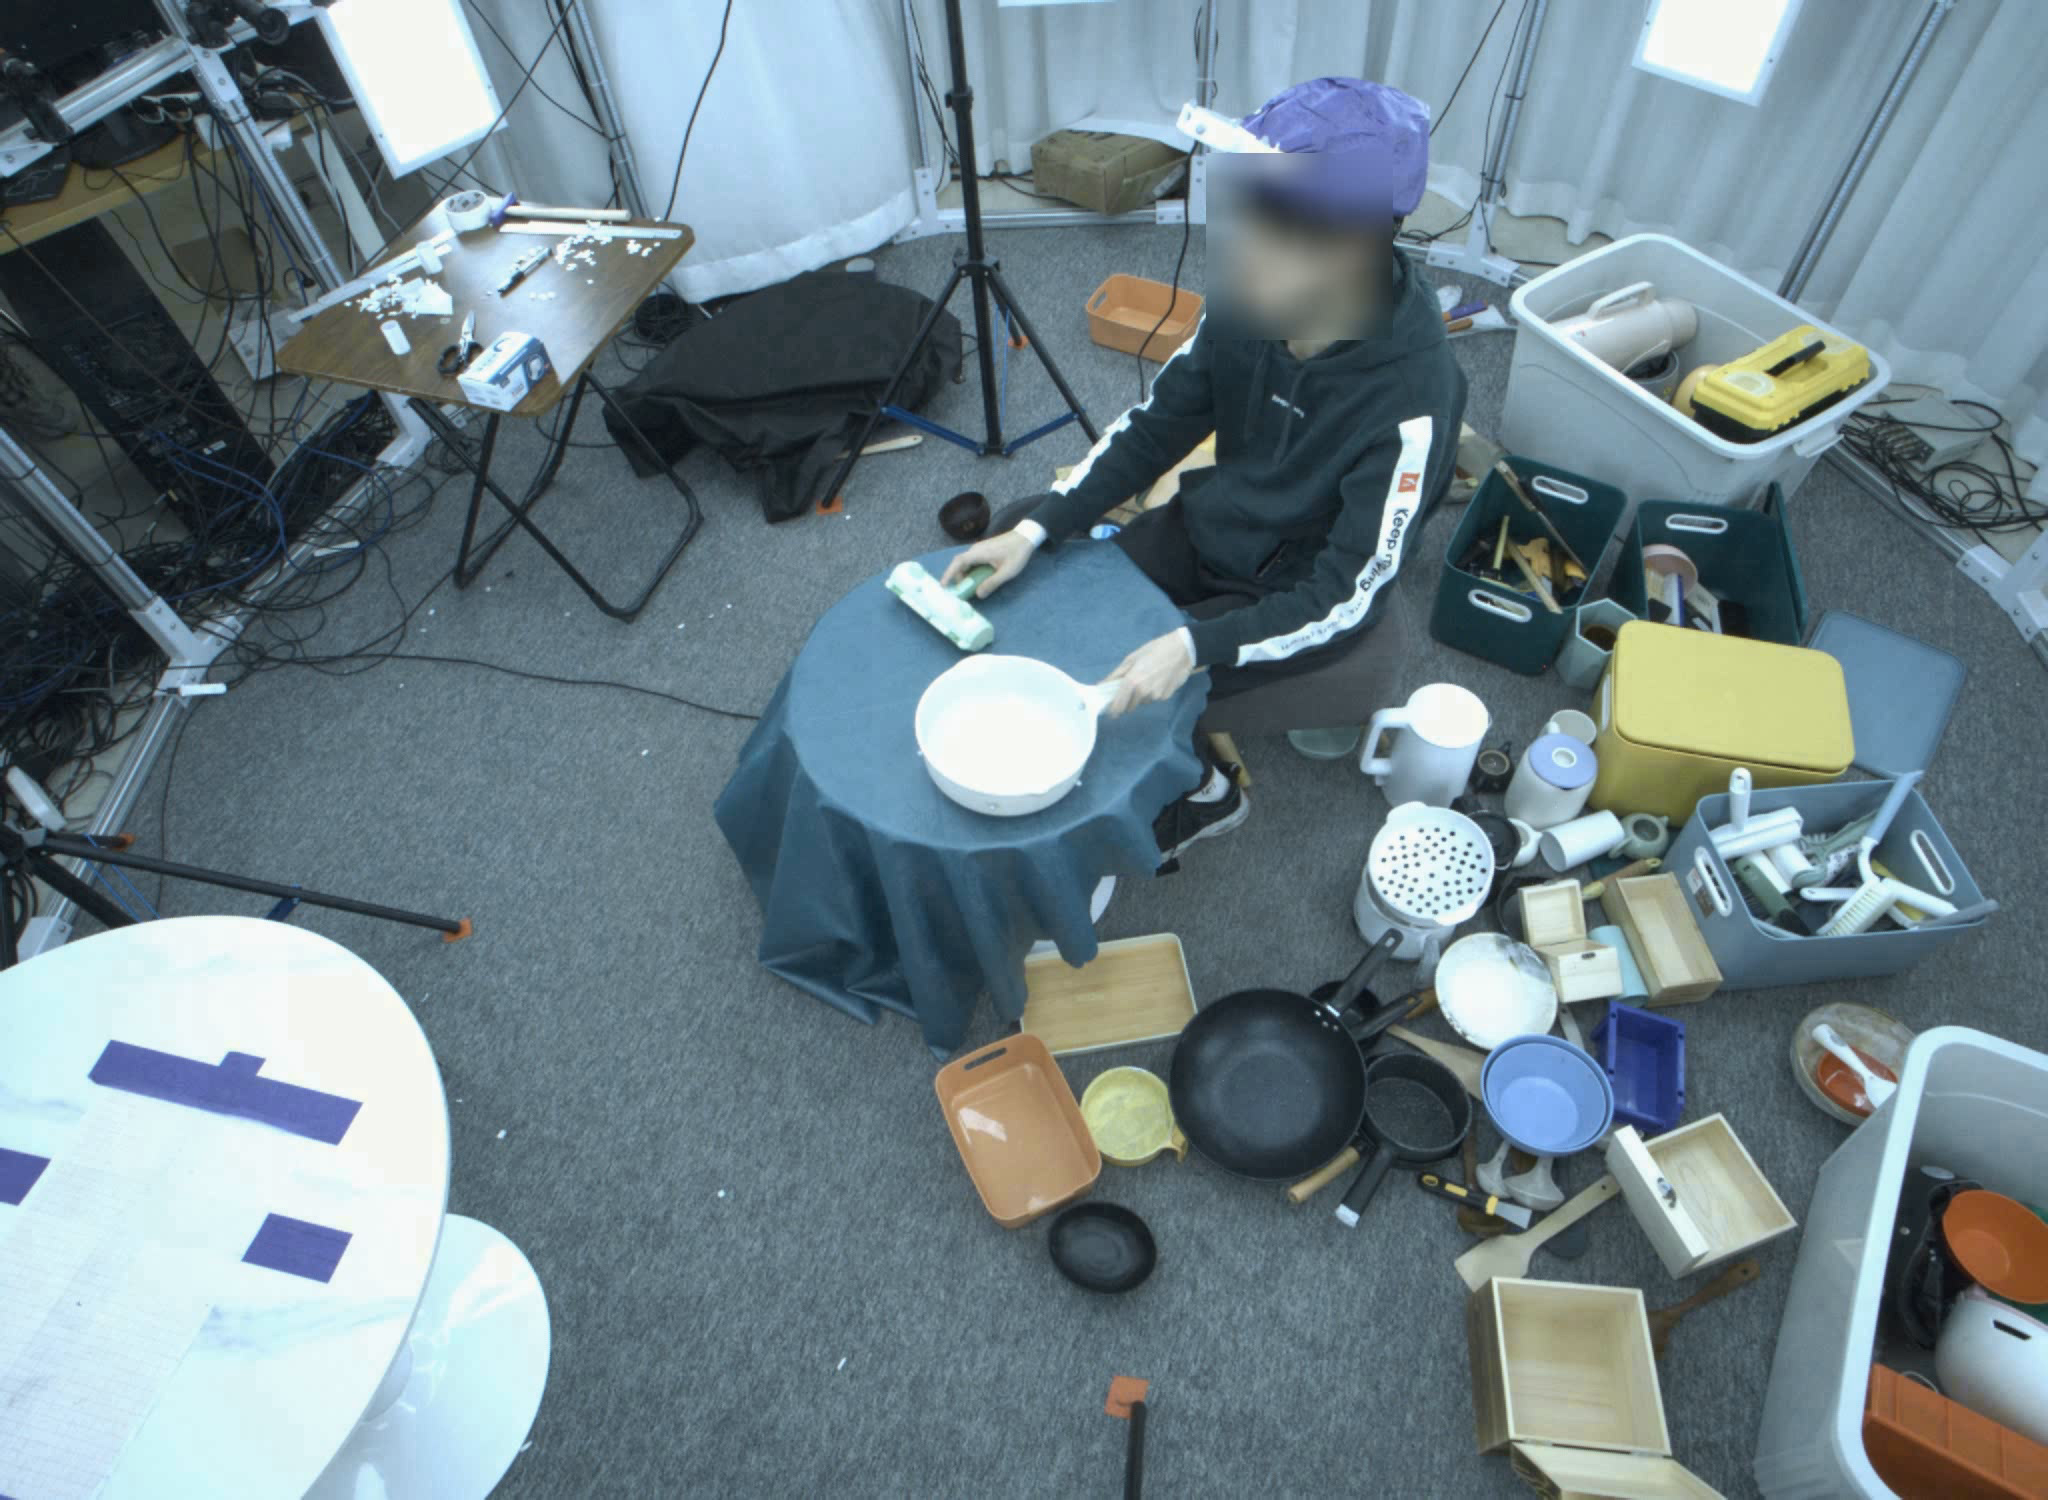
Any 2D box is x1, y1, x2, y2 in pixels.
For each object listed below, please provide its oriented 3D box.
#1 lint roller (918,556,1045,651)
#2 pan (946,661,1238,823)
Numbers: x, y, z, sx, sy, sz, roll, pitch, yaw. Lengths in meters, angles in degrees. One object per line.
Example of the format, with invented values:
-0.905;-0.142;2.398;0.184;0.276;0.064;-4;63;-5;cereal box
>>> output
-0.041;-0.263;1.917;0.184;0.083;0.195;-41;63;-15;lint roller
0.103;-0.033;1.742;0.439;0.103;0.258;-15;54;-17;pan
